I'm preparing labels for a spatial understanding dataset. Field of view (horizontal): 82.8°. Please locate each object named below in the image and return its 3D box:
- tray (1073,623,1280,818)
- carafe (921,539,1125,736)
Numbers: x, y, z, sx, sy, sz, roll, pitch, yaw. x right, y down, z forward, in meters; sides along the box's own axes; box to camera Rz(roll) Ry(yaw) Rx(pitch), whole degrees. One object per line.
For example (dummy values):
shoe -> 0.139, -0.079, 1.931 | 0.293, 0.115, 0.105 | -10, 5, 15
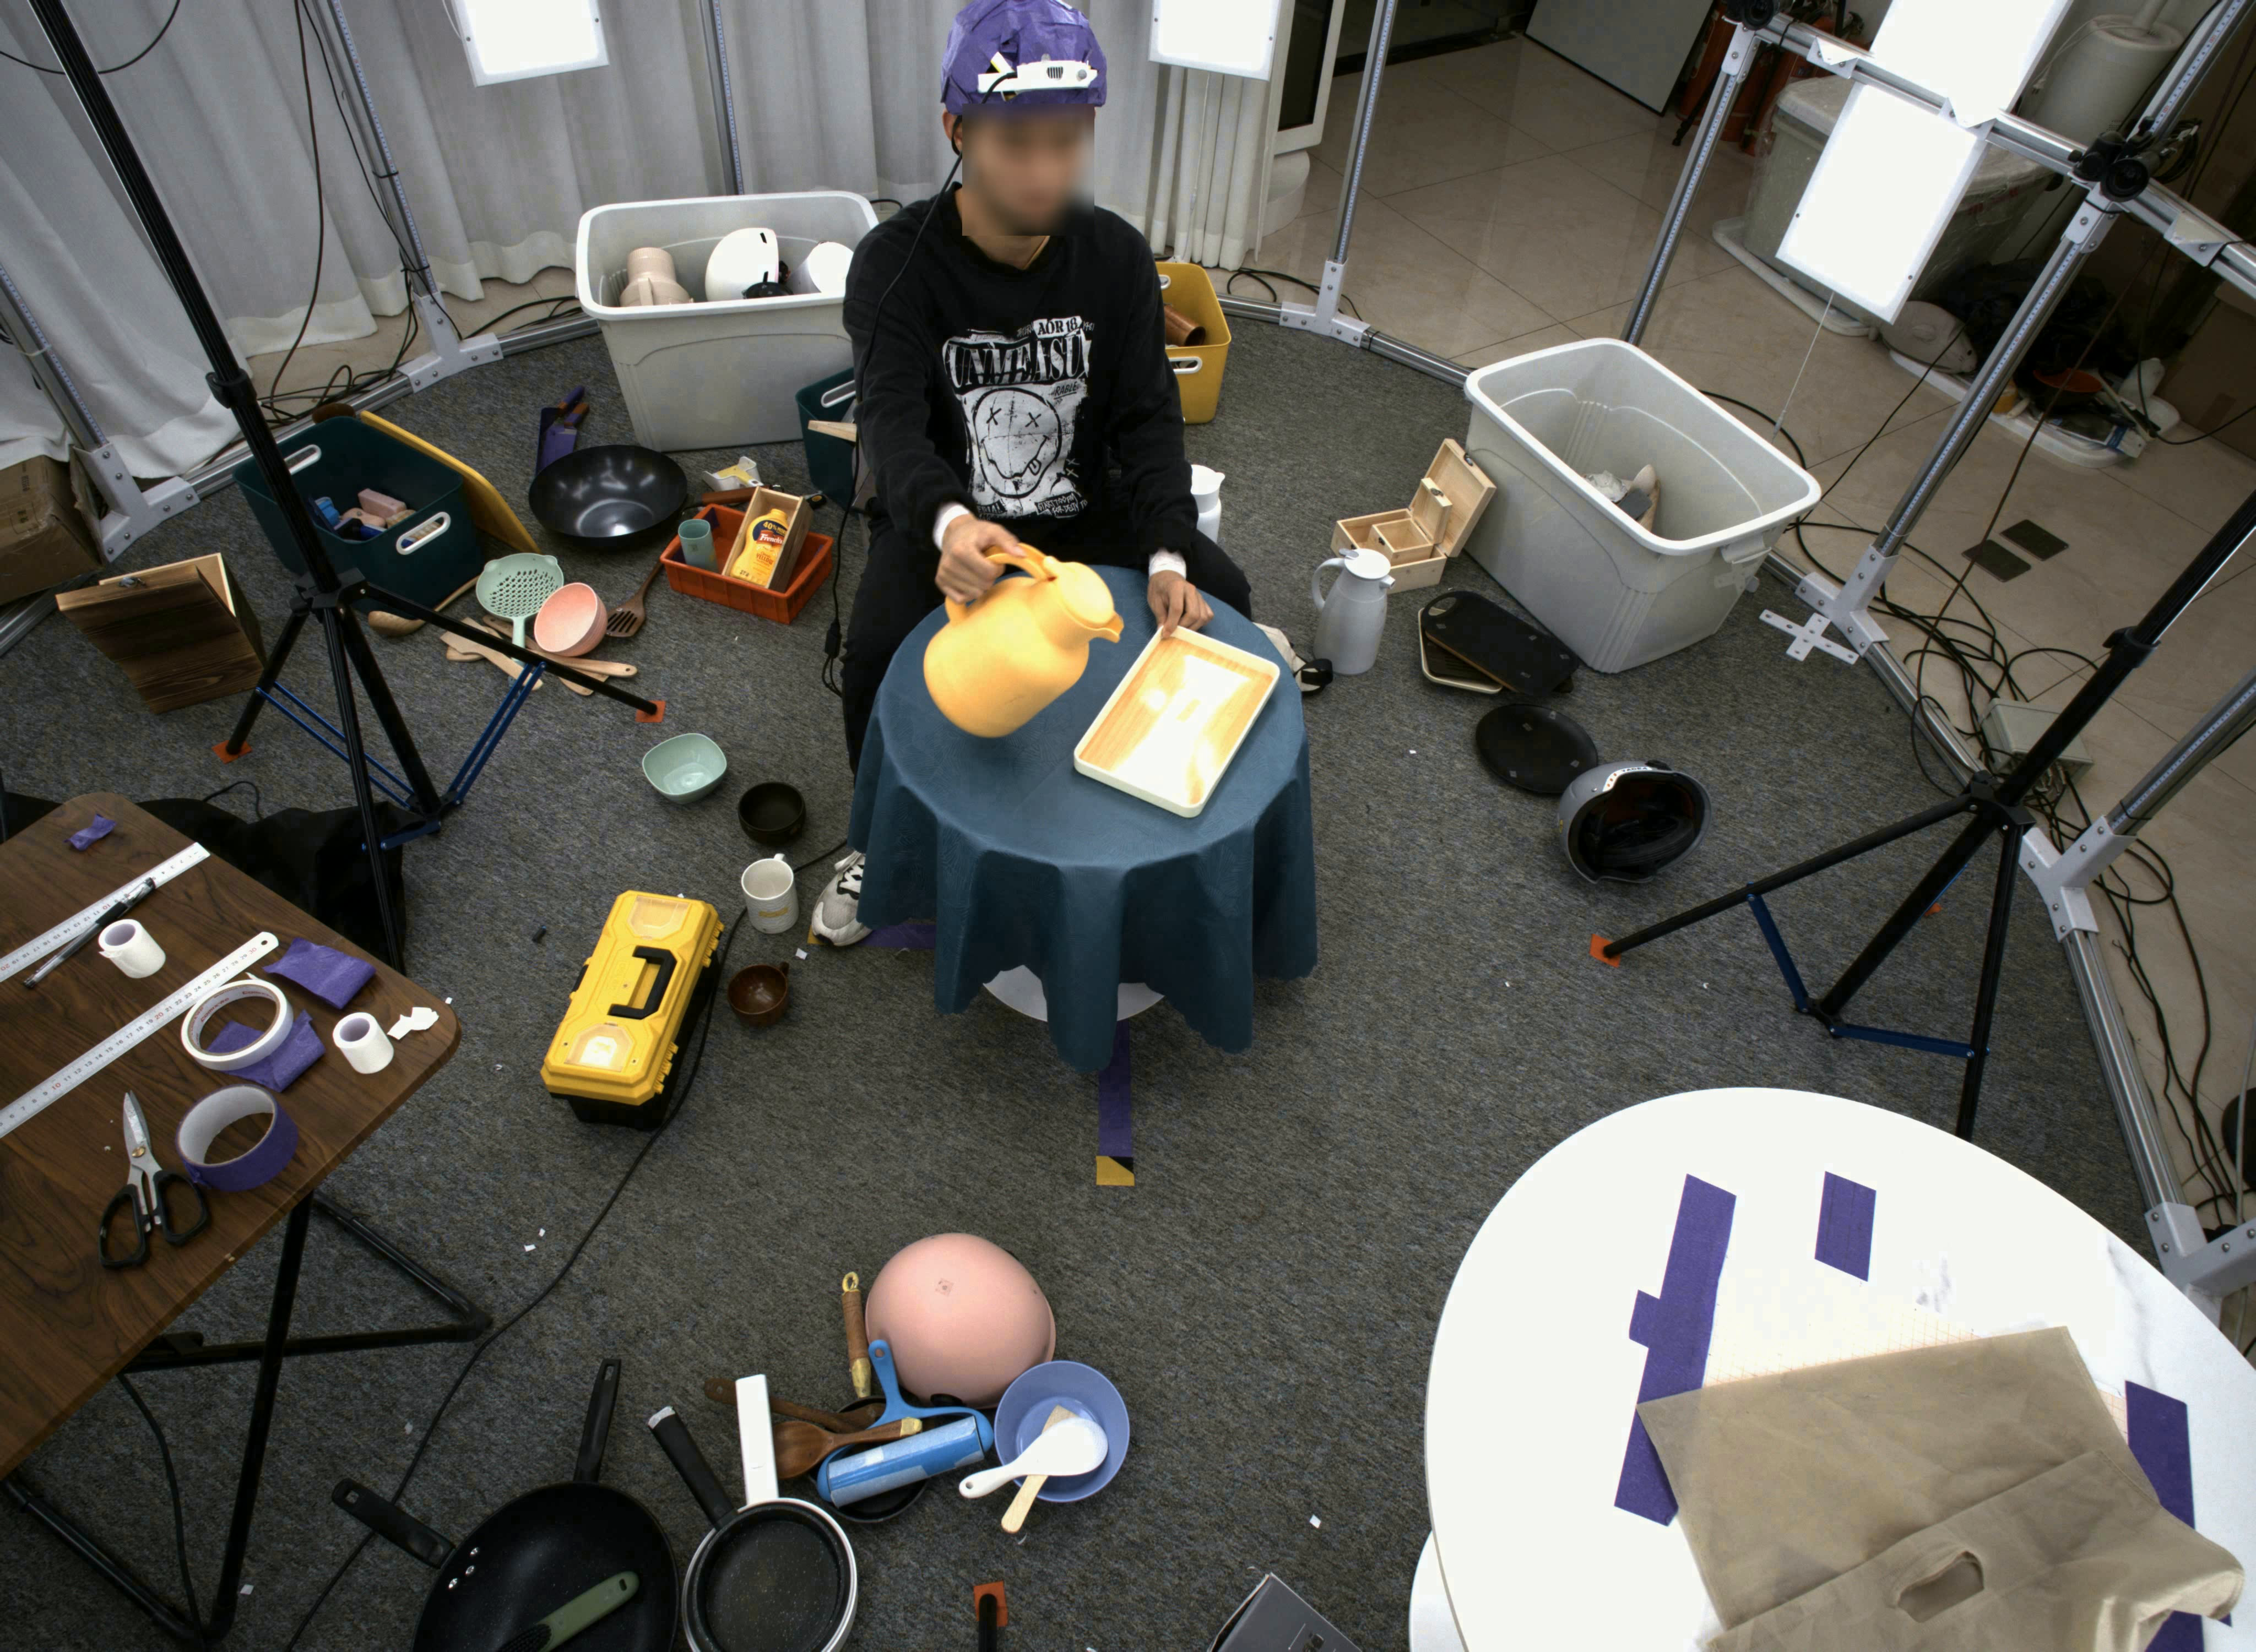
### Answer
tray -> 0.070, -0.153, 1.779 | 0.193, 0.027, 0.305 | 23, 54, 14
carafe -> -0.144, -0.245, 1.618 | 0.199, 0.258, 0.167 | 42, 37, -23
